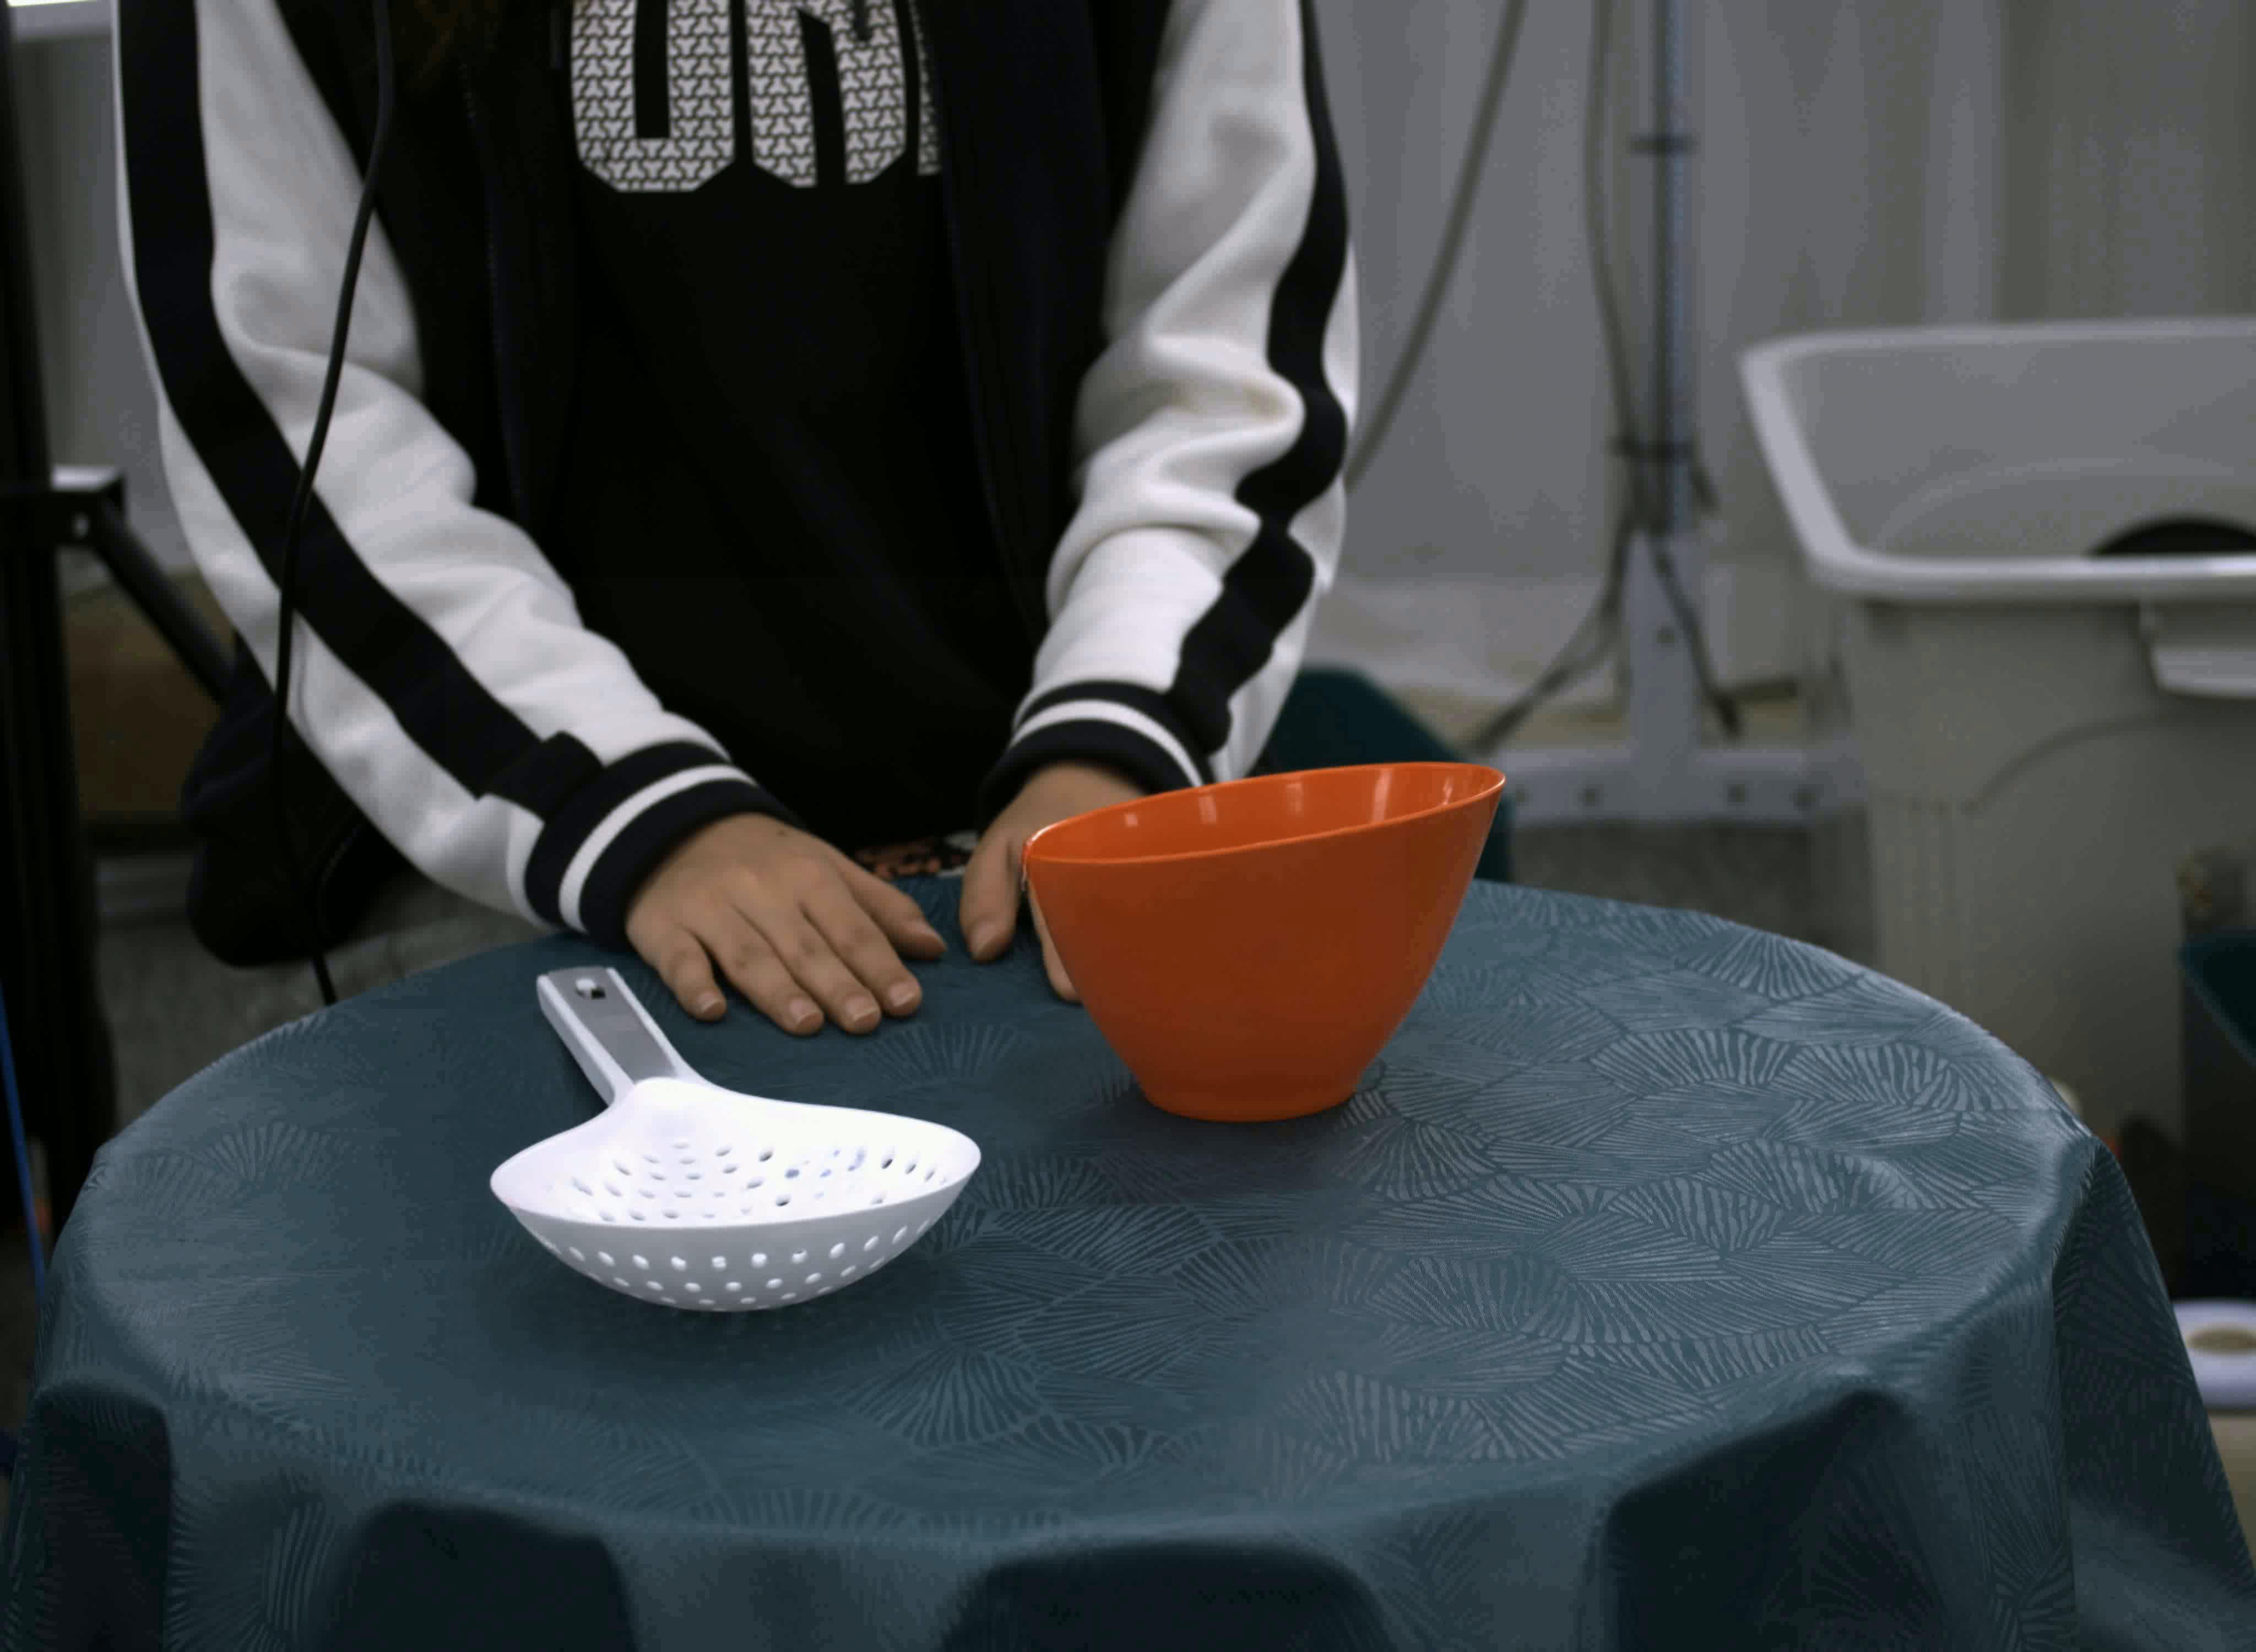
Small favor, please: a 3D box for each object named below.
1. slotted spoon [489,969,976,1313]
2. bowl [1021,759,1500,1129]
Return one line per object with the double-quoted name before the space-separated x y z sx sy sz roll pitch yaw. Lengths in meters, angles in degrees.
"slotted spoon" -0.137 0.084 1.583 0.134 0.046 0.354 -5 15 -13
"bowl" 0.043 0.036 1.622 0.147 0.104 0.149 -5 16 0
